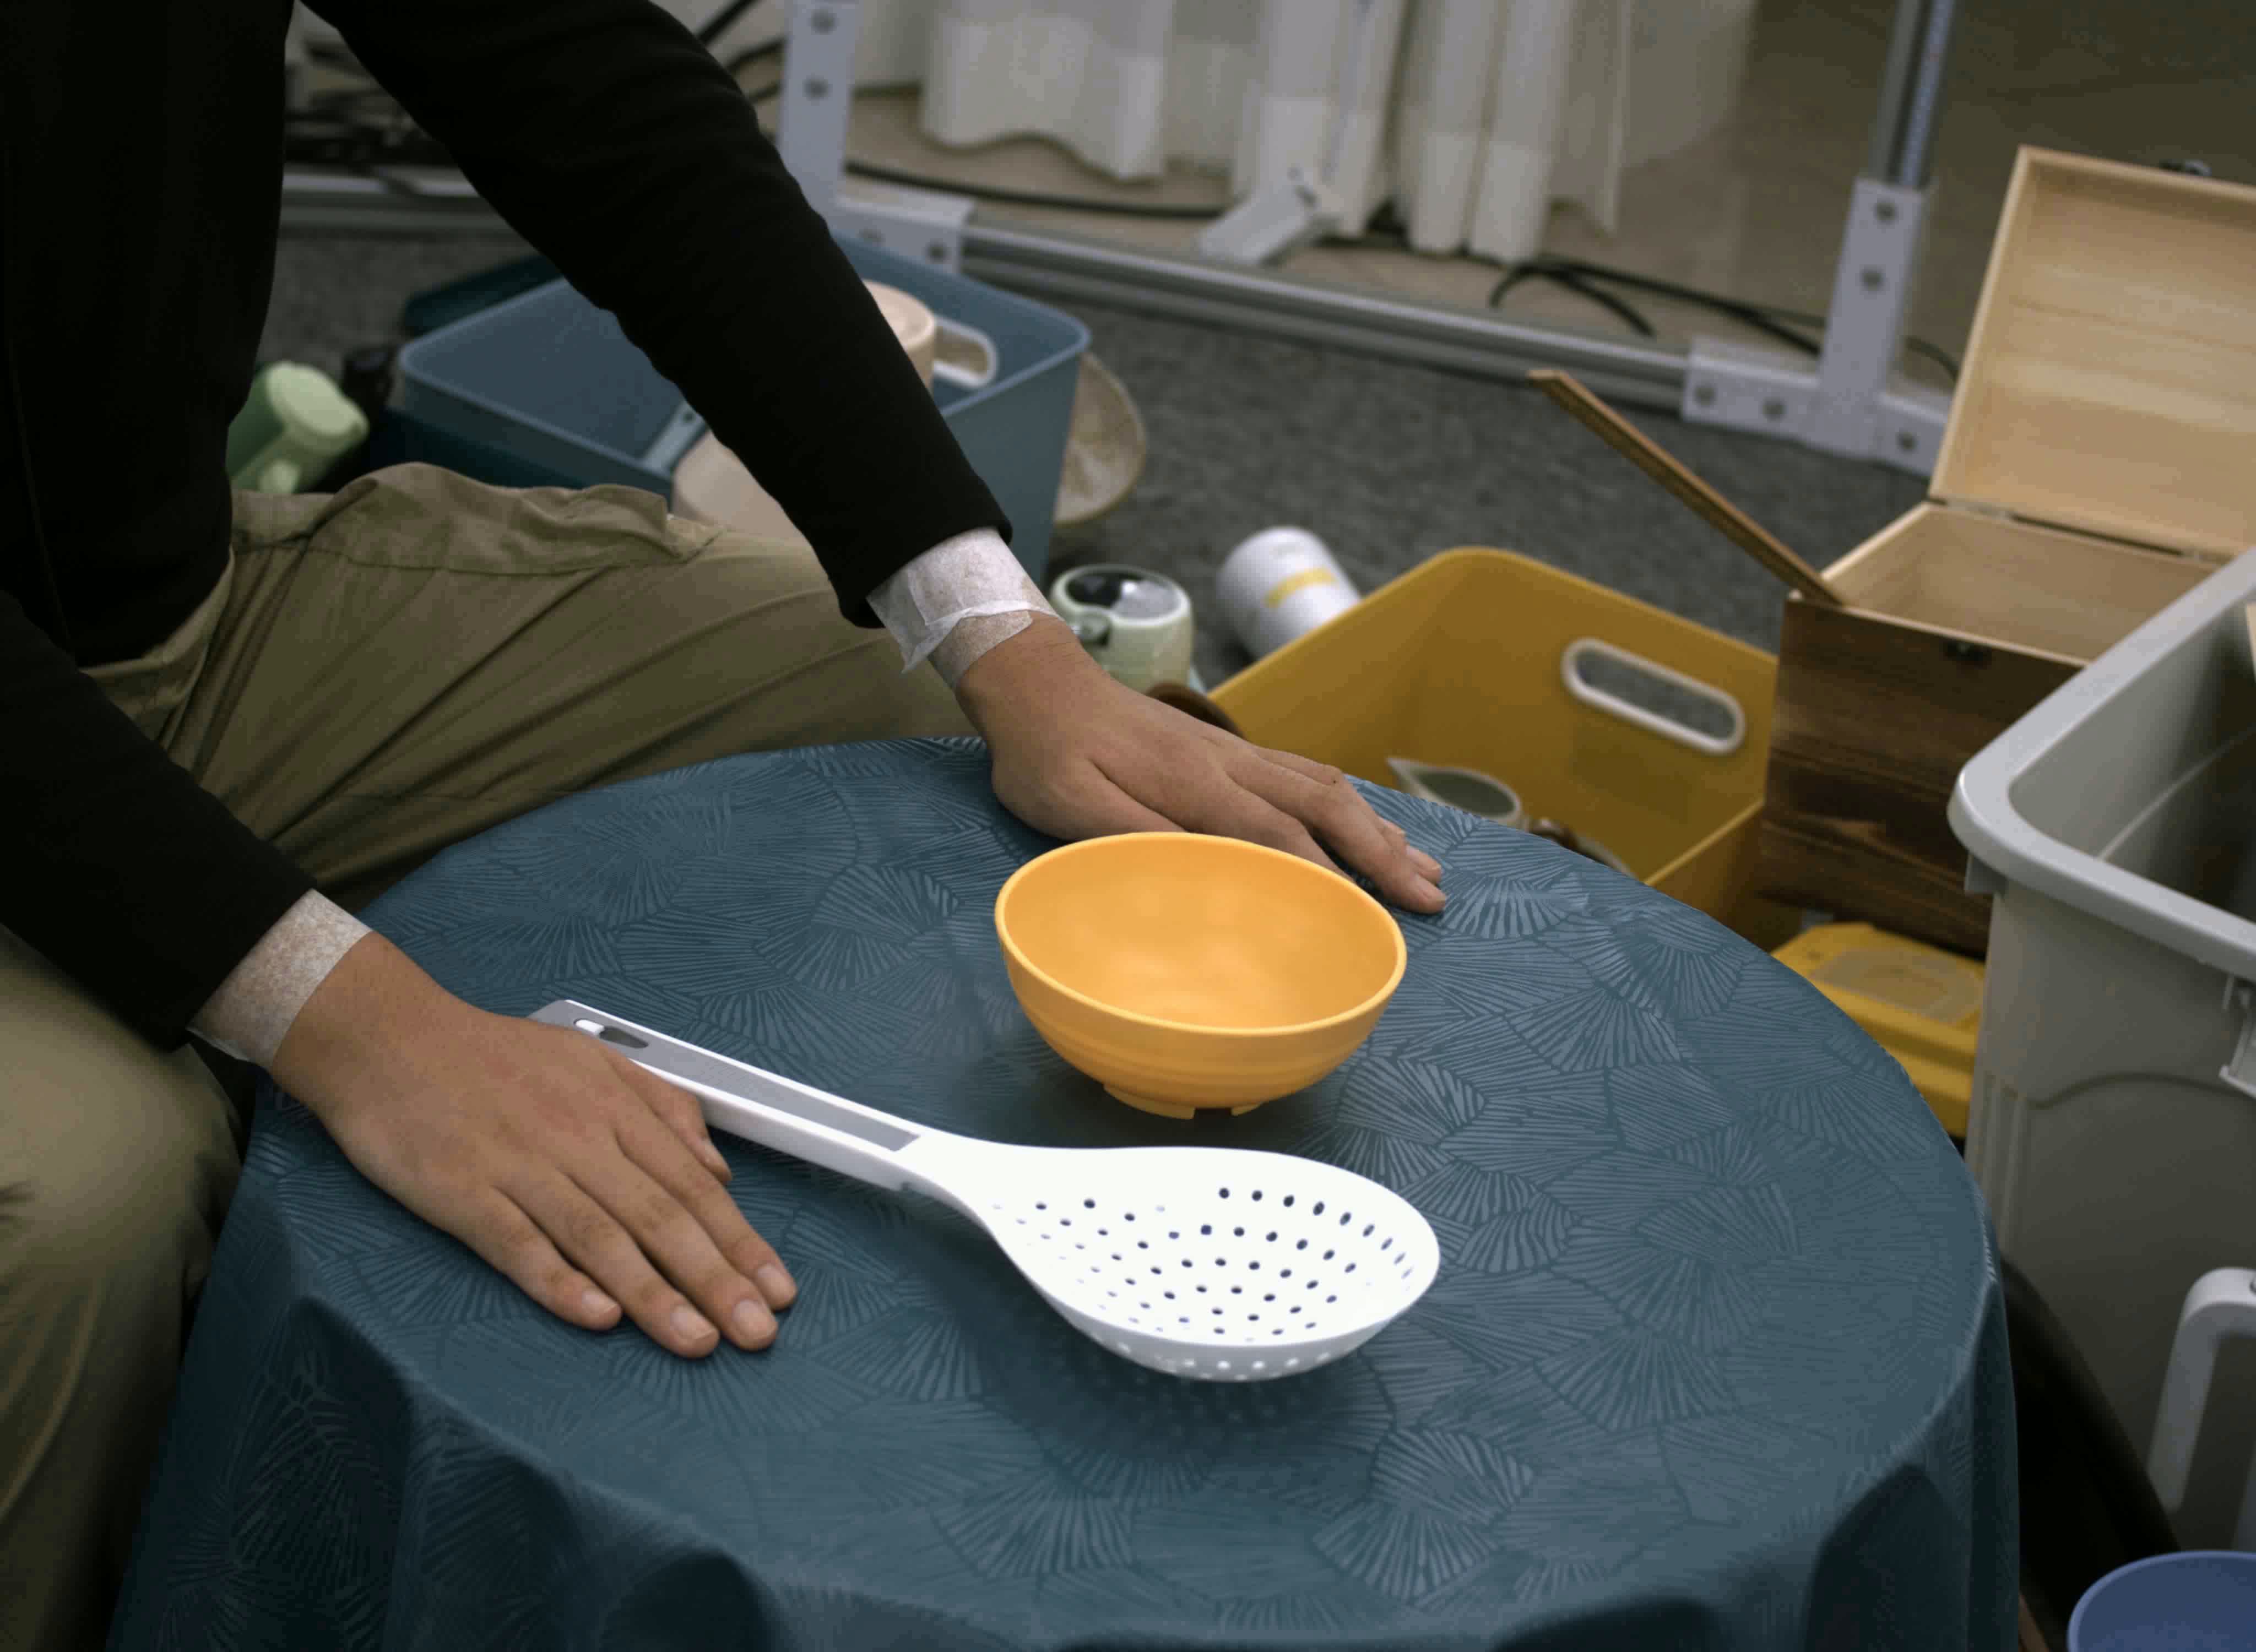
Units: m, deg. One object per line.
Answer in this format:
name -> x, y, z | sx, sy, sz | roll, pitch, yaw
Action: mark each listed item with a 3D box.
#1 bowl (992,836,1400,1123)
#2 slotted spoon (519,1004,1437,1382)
bowl -> 0.020, 0.062, 1.865 | 0.145, 0.060, 0.146 | 7, 26, -4
slotted spoon -> -0.059, 0.114, 1.757 | 0.351, 0.045, 0.135 | 21, 29, 28
